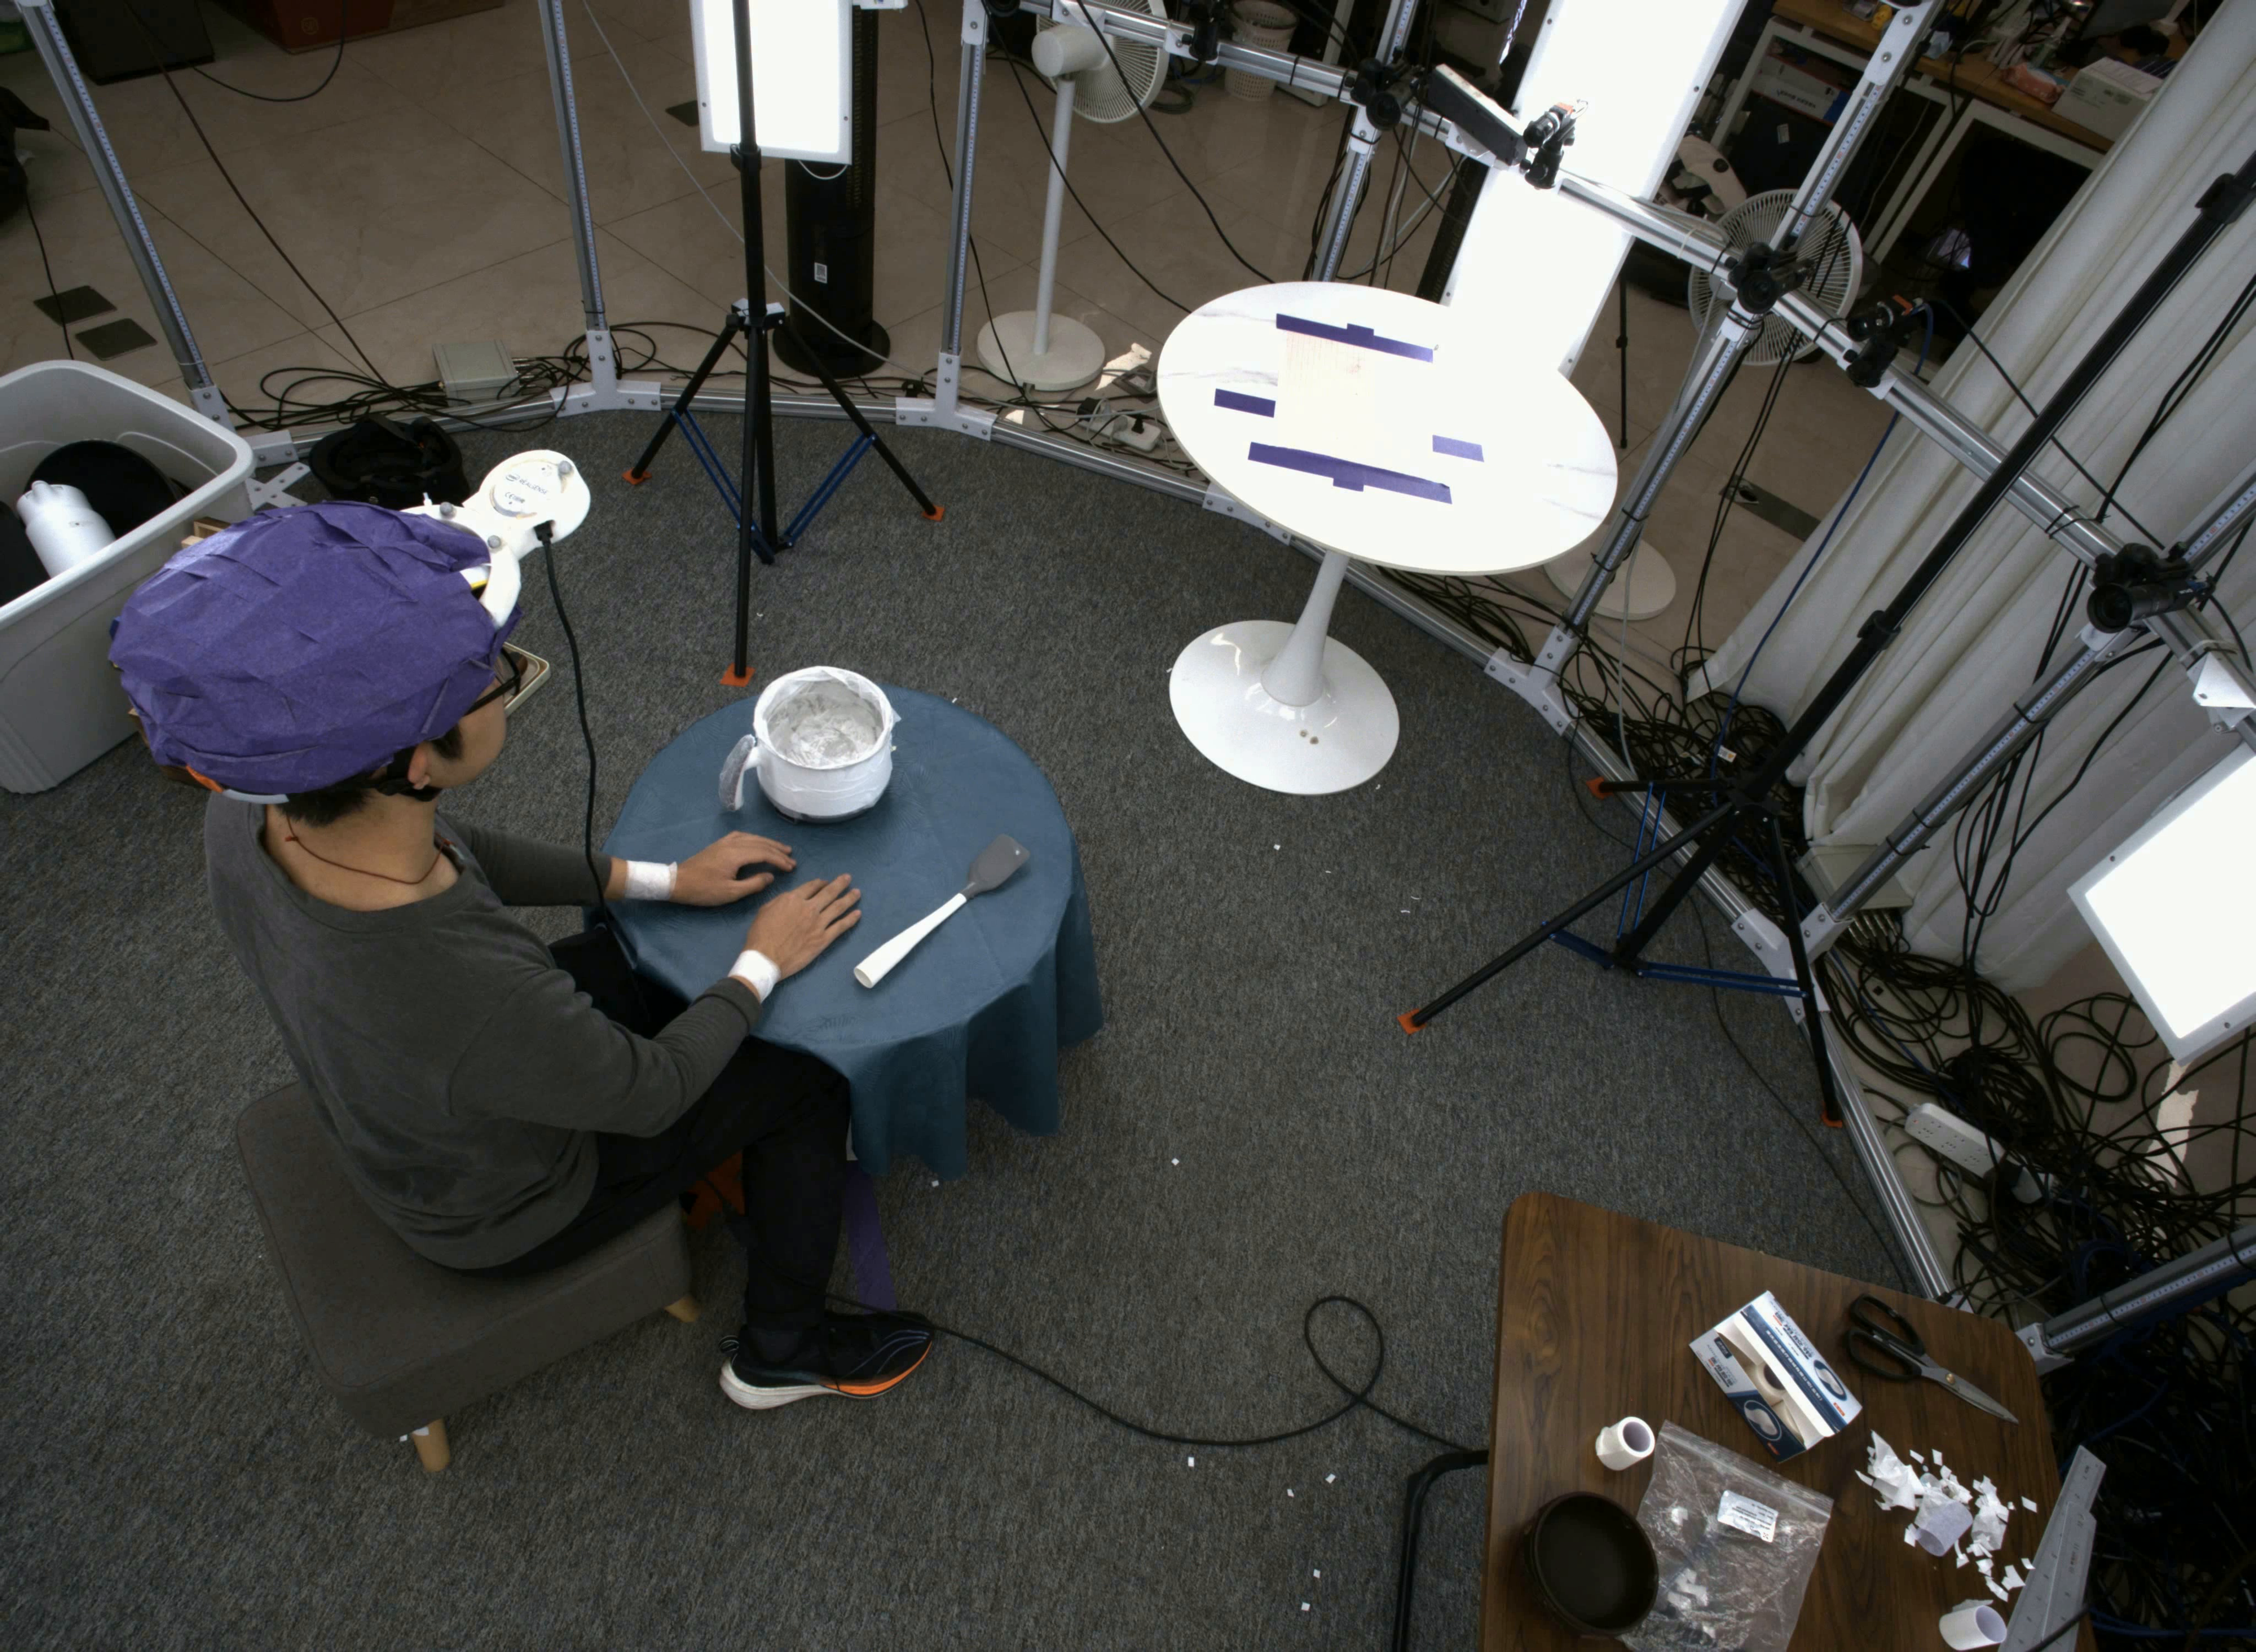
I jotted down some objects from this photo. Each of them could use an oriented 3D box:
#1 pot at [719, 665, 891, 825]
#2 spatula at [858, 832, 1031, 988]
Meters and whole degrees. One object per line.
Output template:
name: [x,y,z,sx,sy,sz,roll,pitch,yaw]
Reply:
pot: [-0.429,-0.094,1.715,0.235,0.139,0.174,-23,61,-27]
spatula: [-0.236,0.105,1.684,0.057,0.033,0.287,35,54,17]
